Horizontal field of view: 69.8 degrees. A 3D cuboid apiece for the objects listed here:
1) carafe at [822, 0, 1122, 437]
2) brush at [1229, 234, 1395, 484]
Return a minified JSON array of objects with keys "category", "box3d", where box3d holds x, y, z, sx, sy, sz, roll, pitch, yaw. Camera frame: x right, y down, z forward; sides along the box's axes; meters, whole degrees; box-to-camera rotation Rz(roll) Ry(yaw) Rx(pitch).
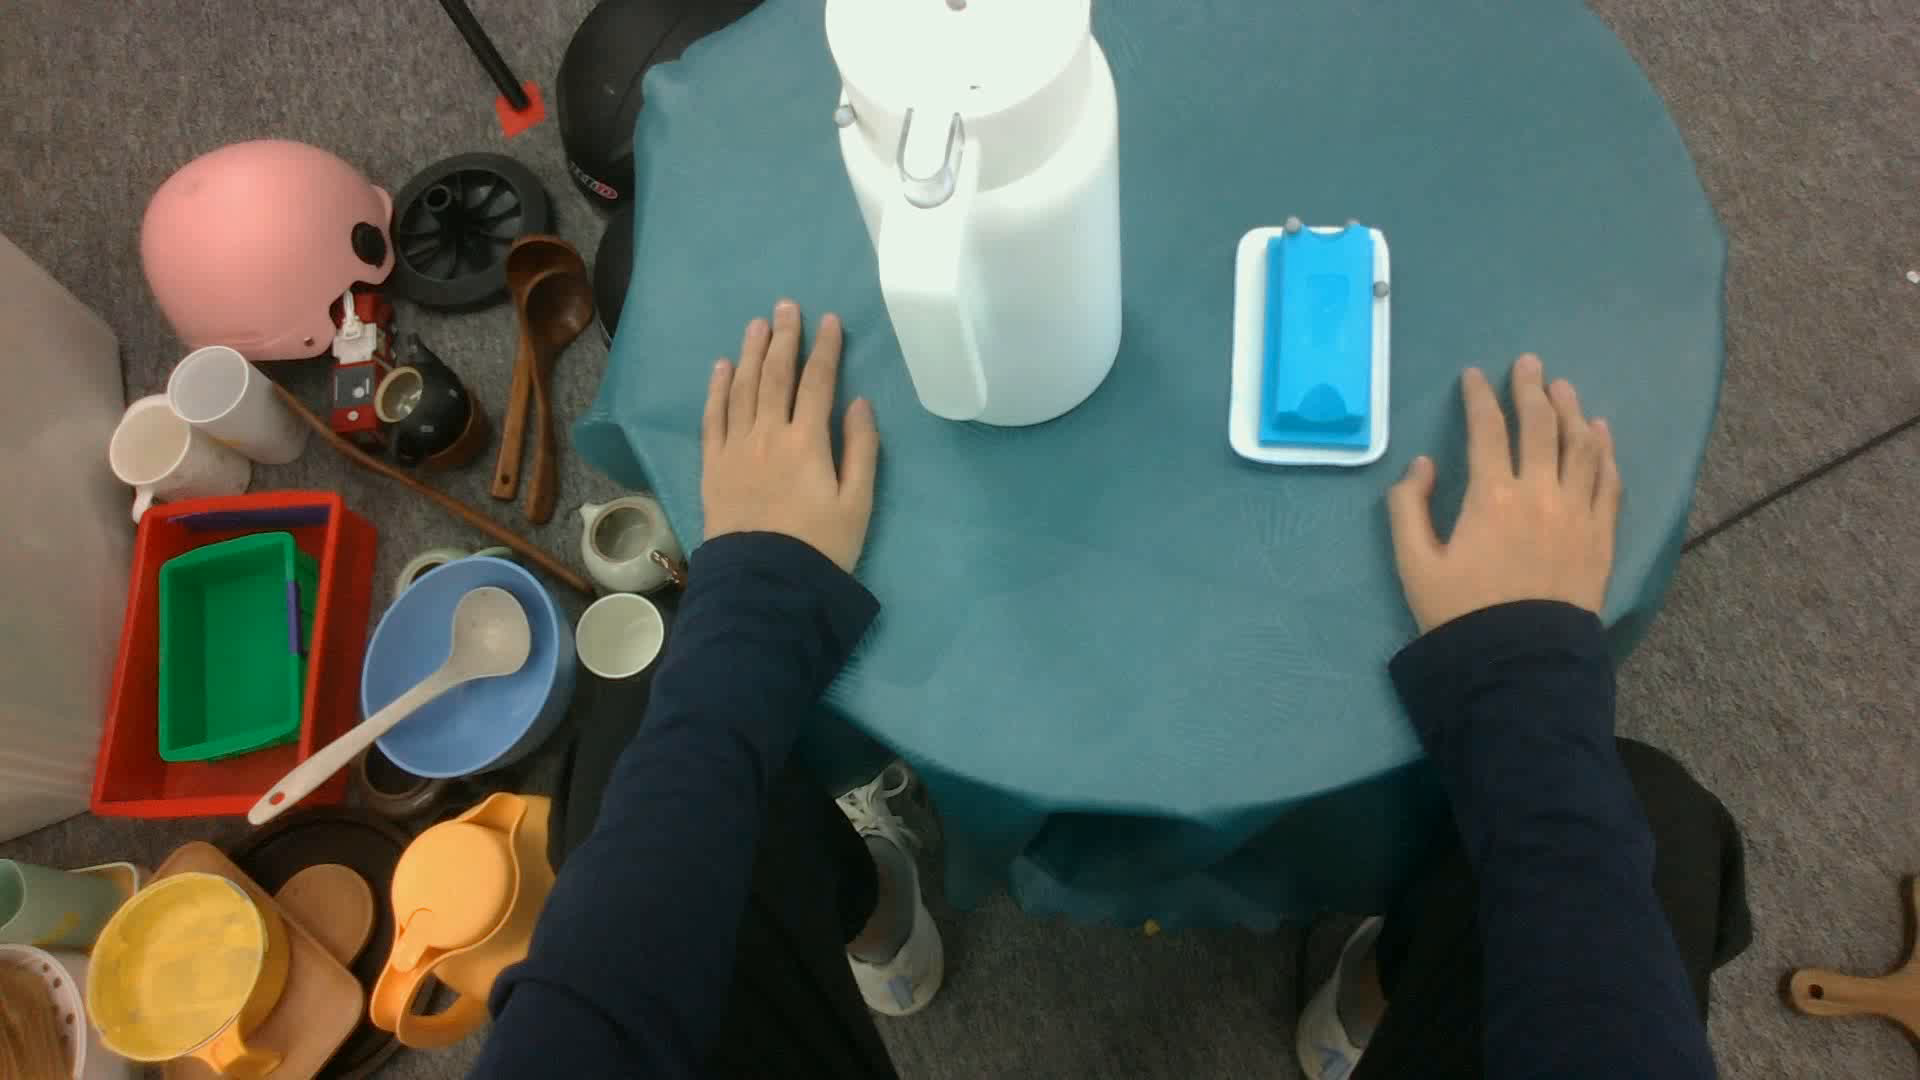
[{"category":"carafe","box3d":[0.014,-0.135,0.646,0.124,0.268,0.173,6,72,8]},{"category":"brush","box3d":[0.186,-0.102,0.720,0.084,0.056,0.144,4,68,12]}]
